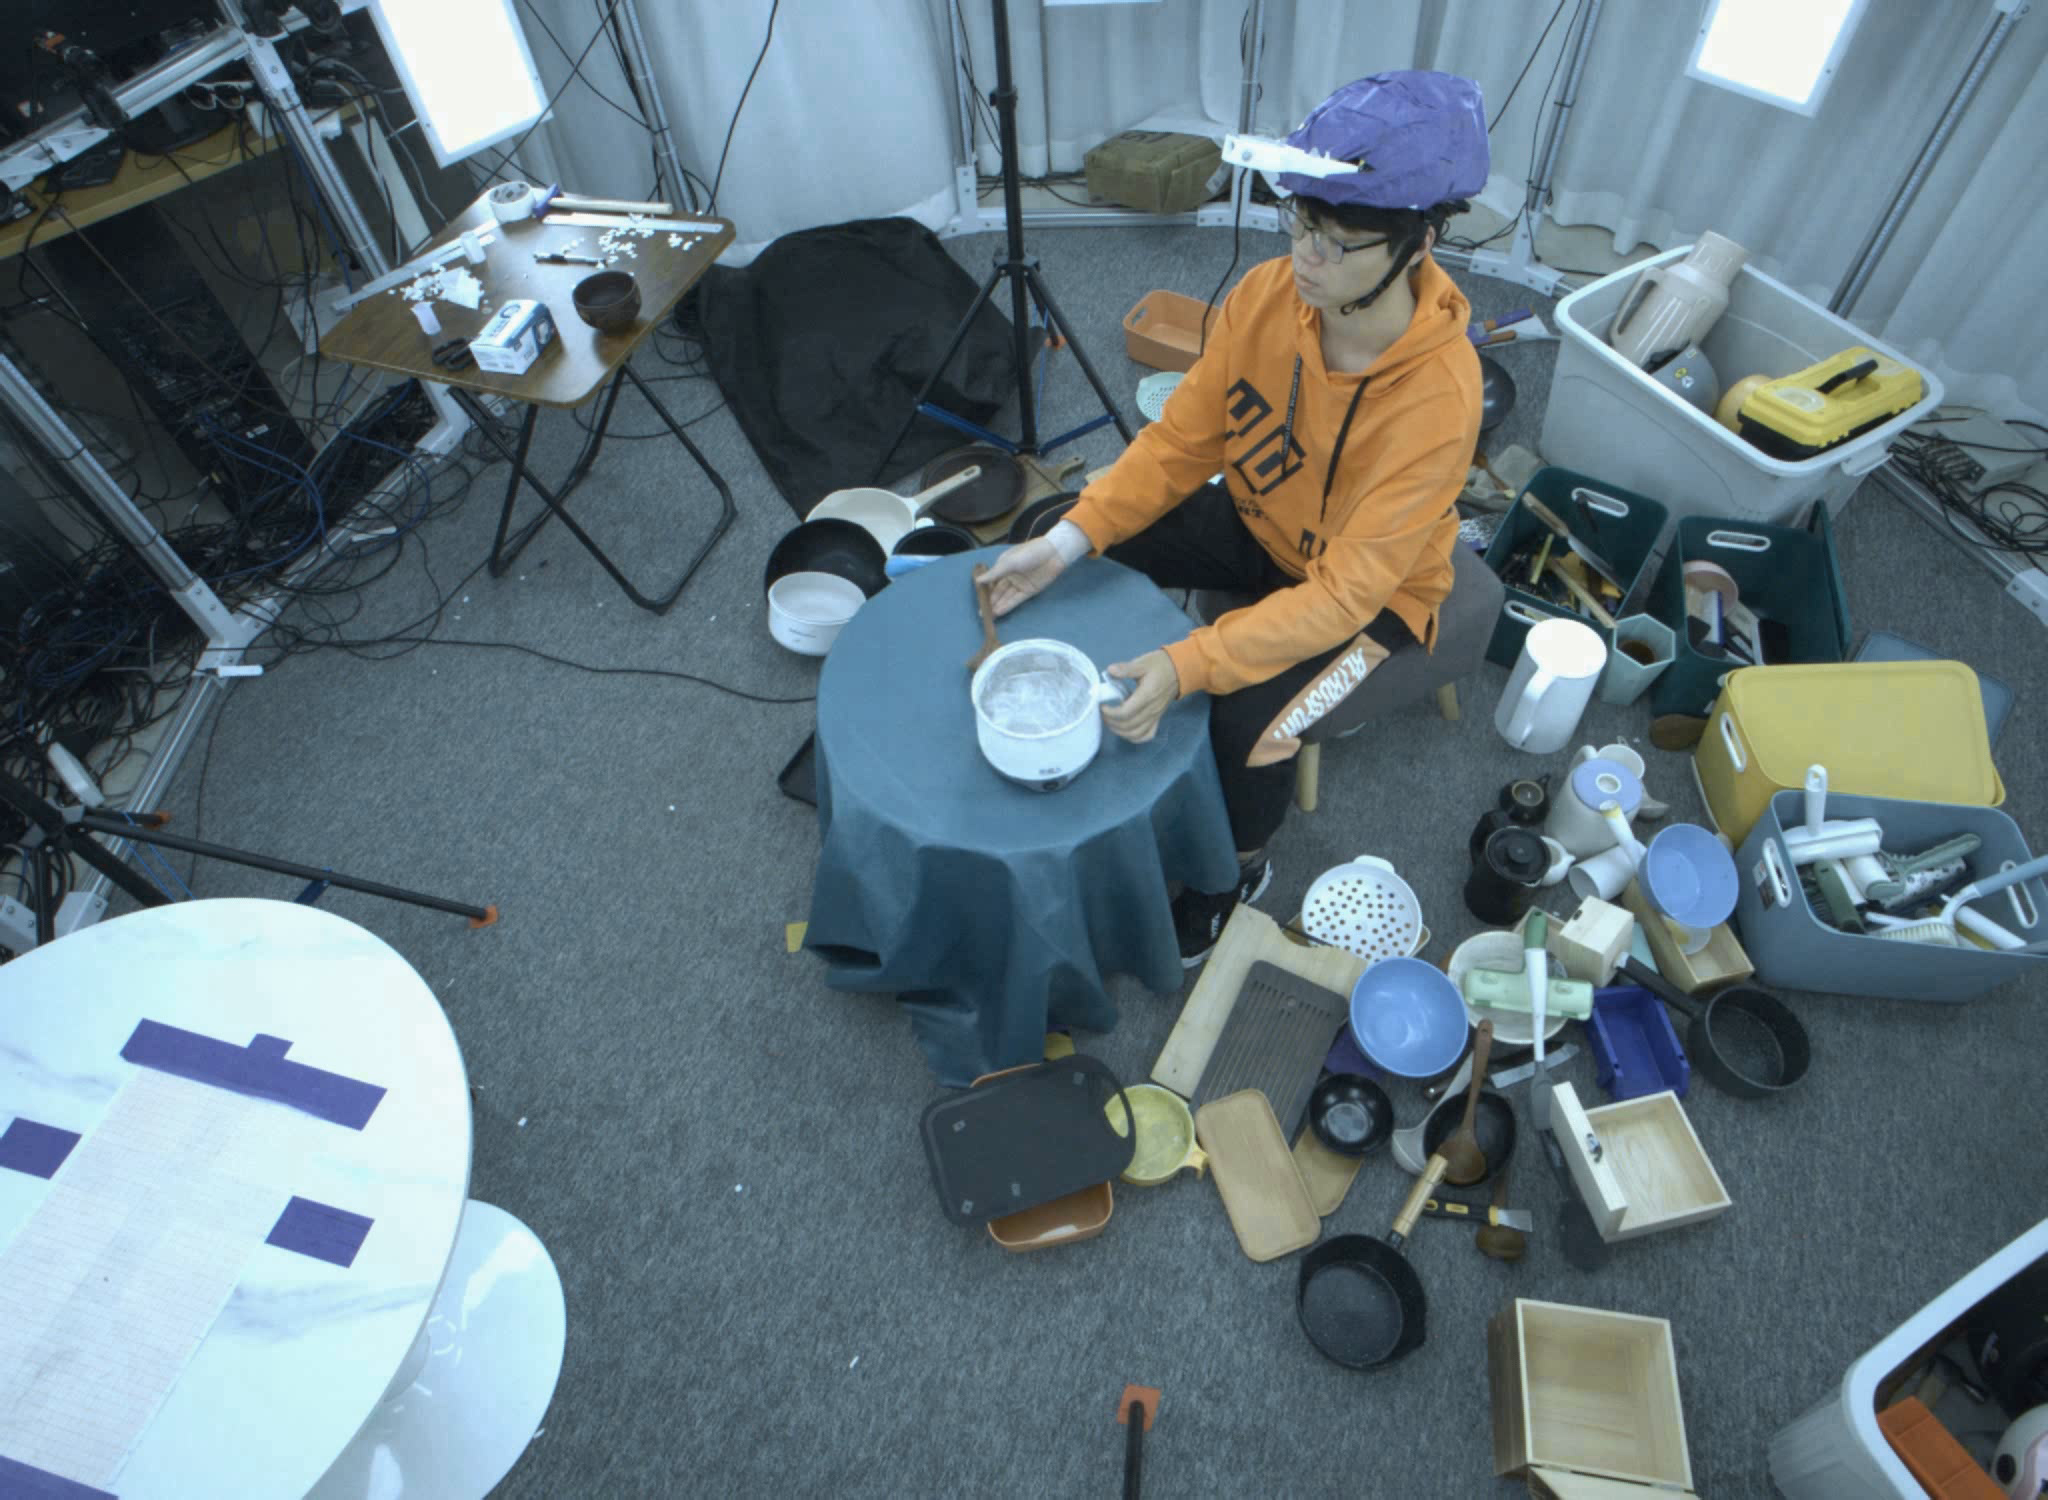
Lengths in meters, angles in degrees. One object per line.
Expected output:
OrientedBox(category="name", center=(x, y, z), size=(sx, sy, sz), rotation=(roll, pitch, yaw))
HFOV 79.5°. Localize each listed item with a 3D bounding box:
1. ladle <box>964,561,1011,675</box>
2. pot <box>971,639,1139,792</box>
OrientedBox(category="ladle", center=(-0.063, -0.215, 1.902), size=(0.076, 0.066, 0.257), rotation=(-11, 55, 4))
OrientedBox(category="pot", center=(0.047, -0.053, 1.738), size=(0.234, 0.138, 0.176), rotation=(-11, 55, -5))
